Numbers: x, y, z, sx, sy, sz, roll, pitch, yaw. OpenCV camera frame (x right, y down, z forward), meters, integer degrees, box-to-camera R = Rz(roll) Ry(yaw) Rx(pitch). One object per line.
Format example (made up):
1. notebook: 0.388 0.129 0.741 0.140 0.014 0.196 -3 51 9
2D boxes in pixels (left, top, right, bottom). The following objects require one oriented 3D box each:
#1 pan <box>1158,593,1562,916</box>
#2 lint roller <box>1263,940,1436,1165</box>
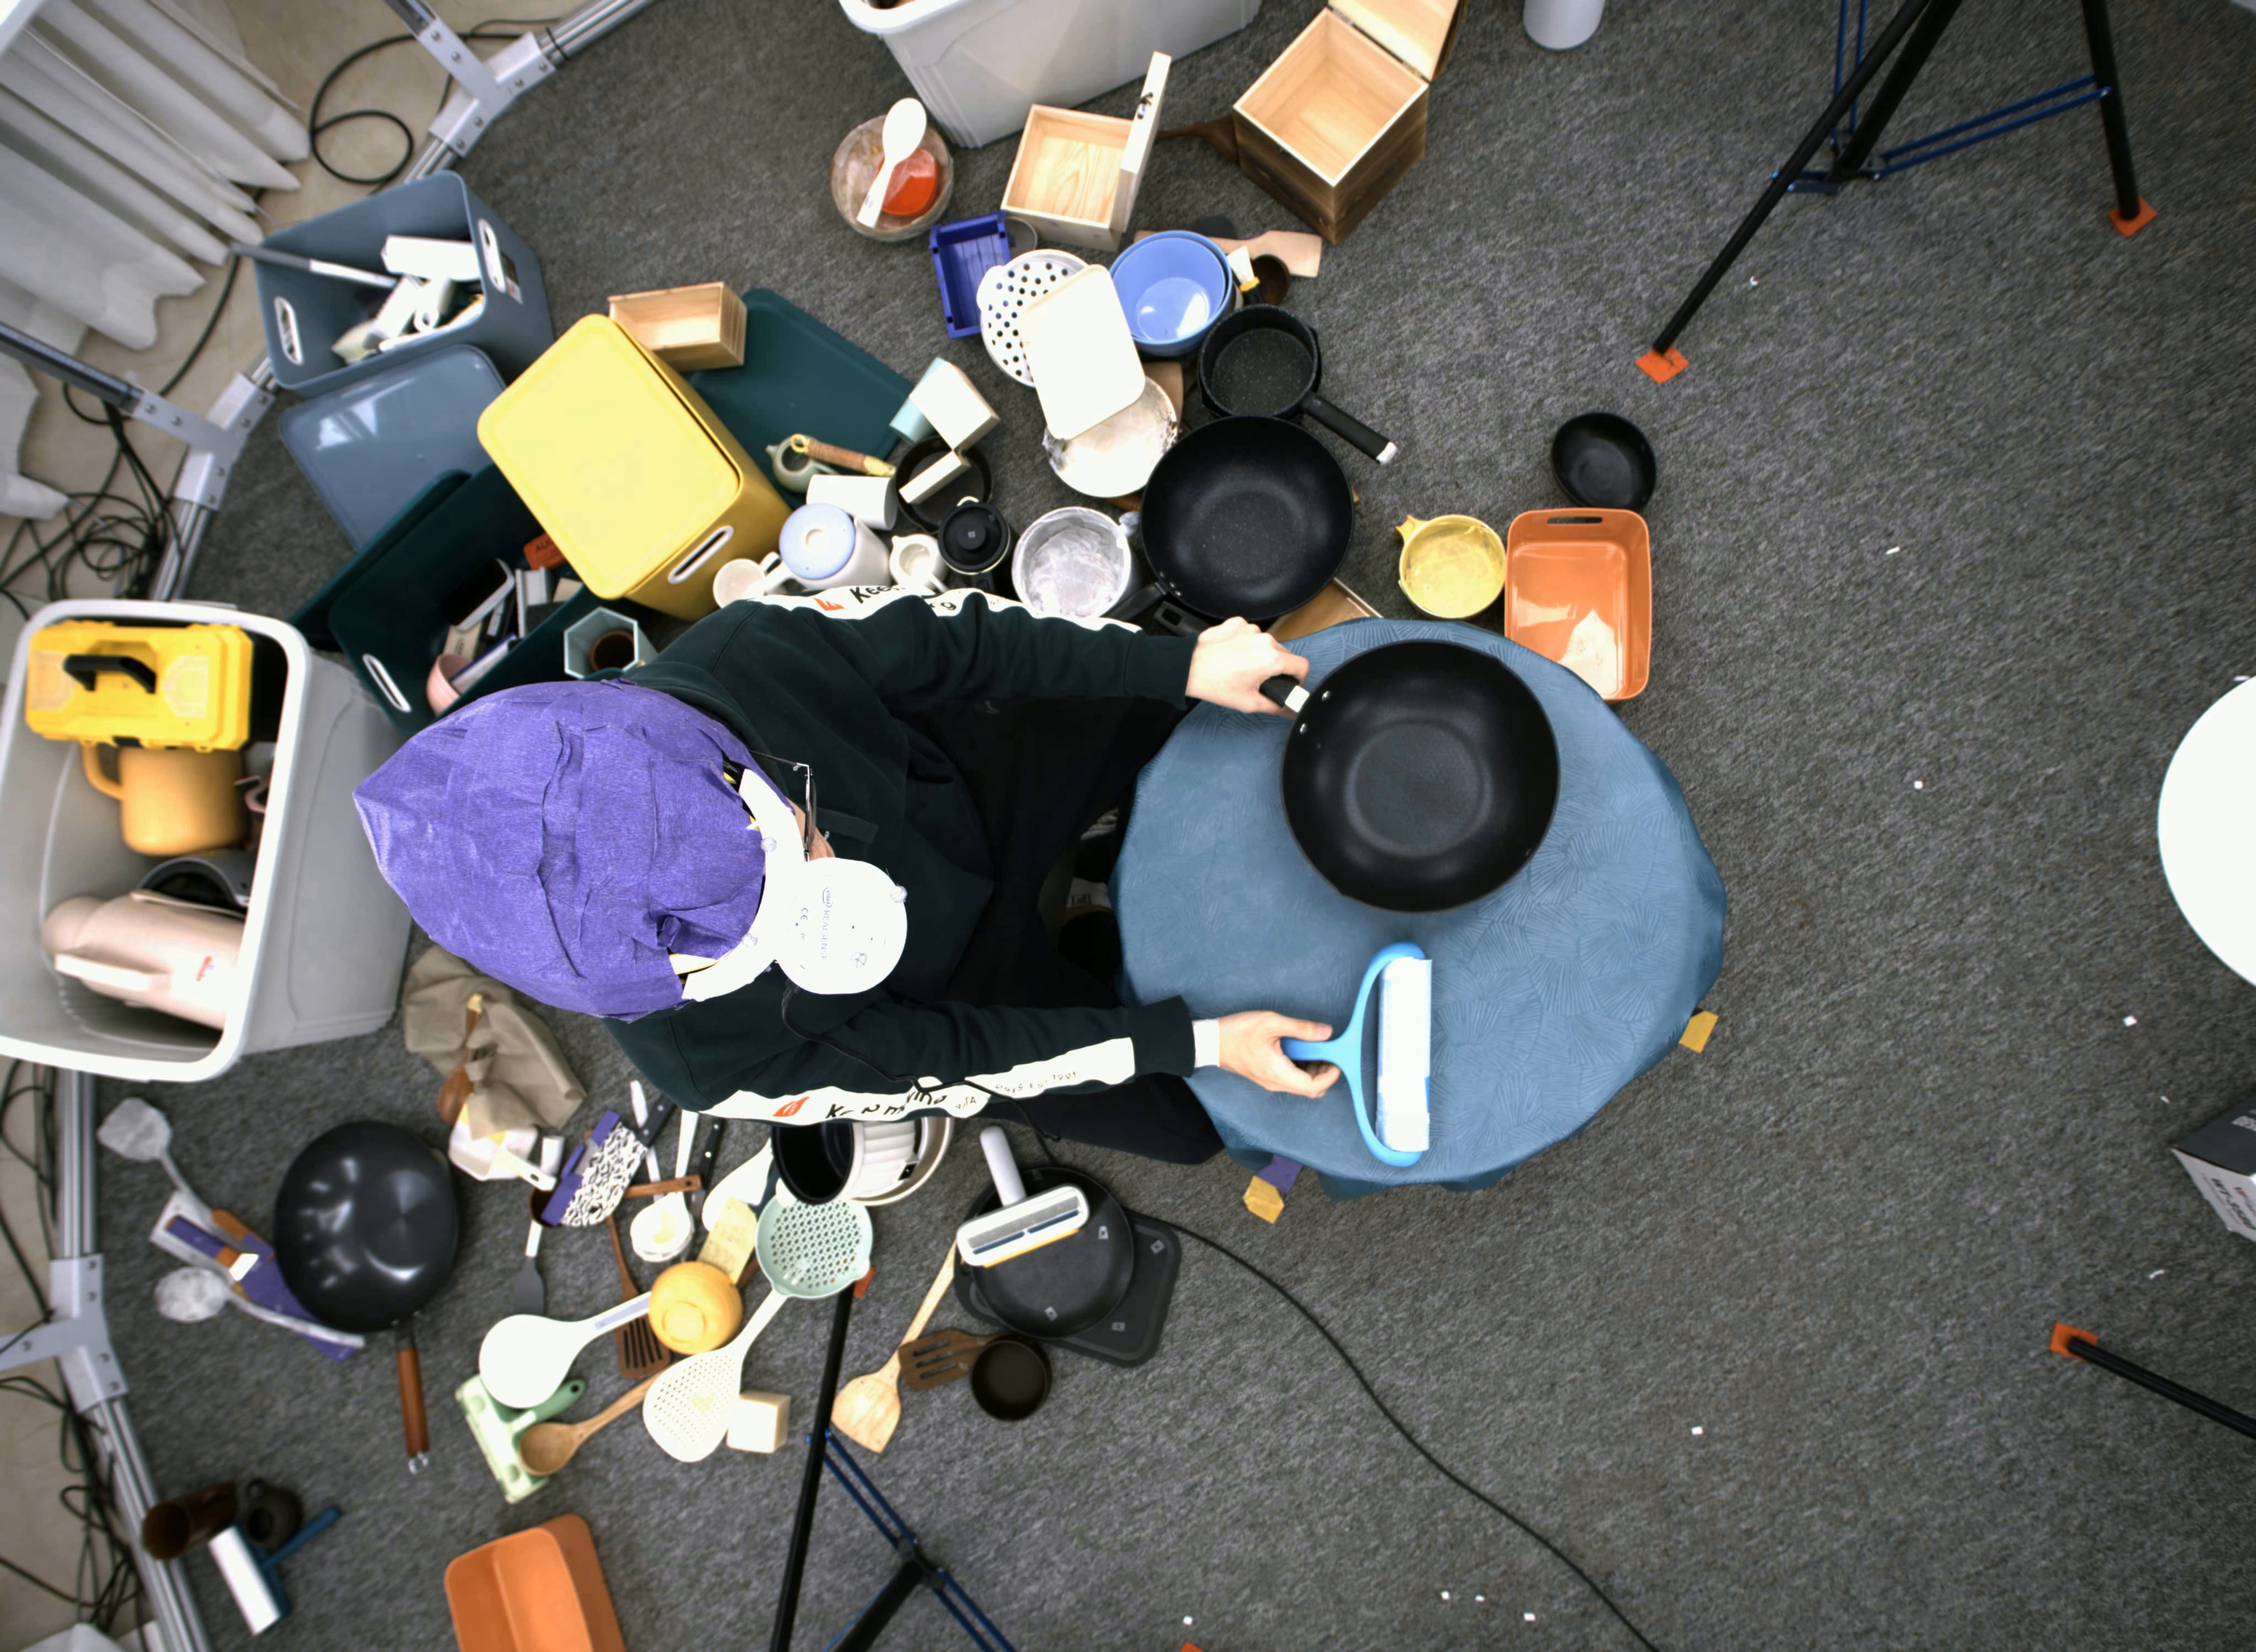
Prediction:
1. pan: 0.224 -0.098 1.432 0.462 0.087 0.288 35 92 12
2. lint roller: 0.228 0.233 1.427 0.181 0.068 0.228 -3 88 10
